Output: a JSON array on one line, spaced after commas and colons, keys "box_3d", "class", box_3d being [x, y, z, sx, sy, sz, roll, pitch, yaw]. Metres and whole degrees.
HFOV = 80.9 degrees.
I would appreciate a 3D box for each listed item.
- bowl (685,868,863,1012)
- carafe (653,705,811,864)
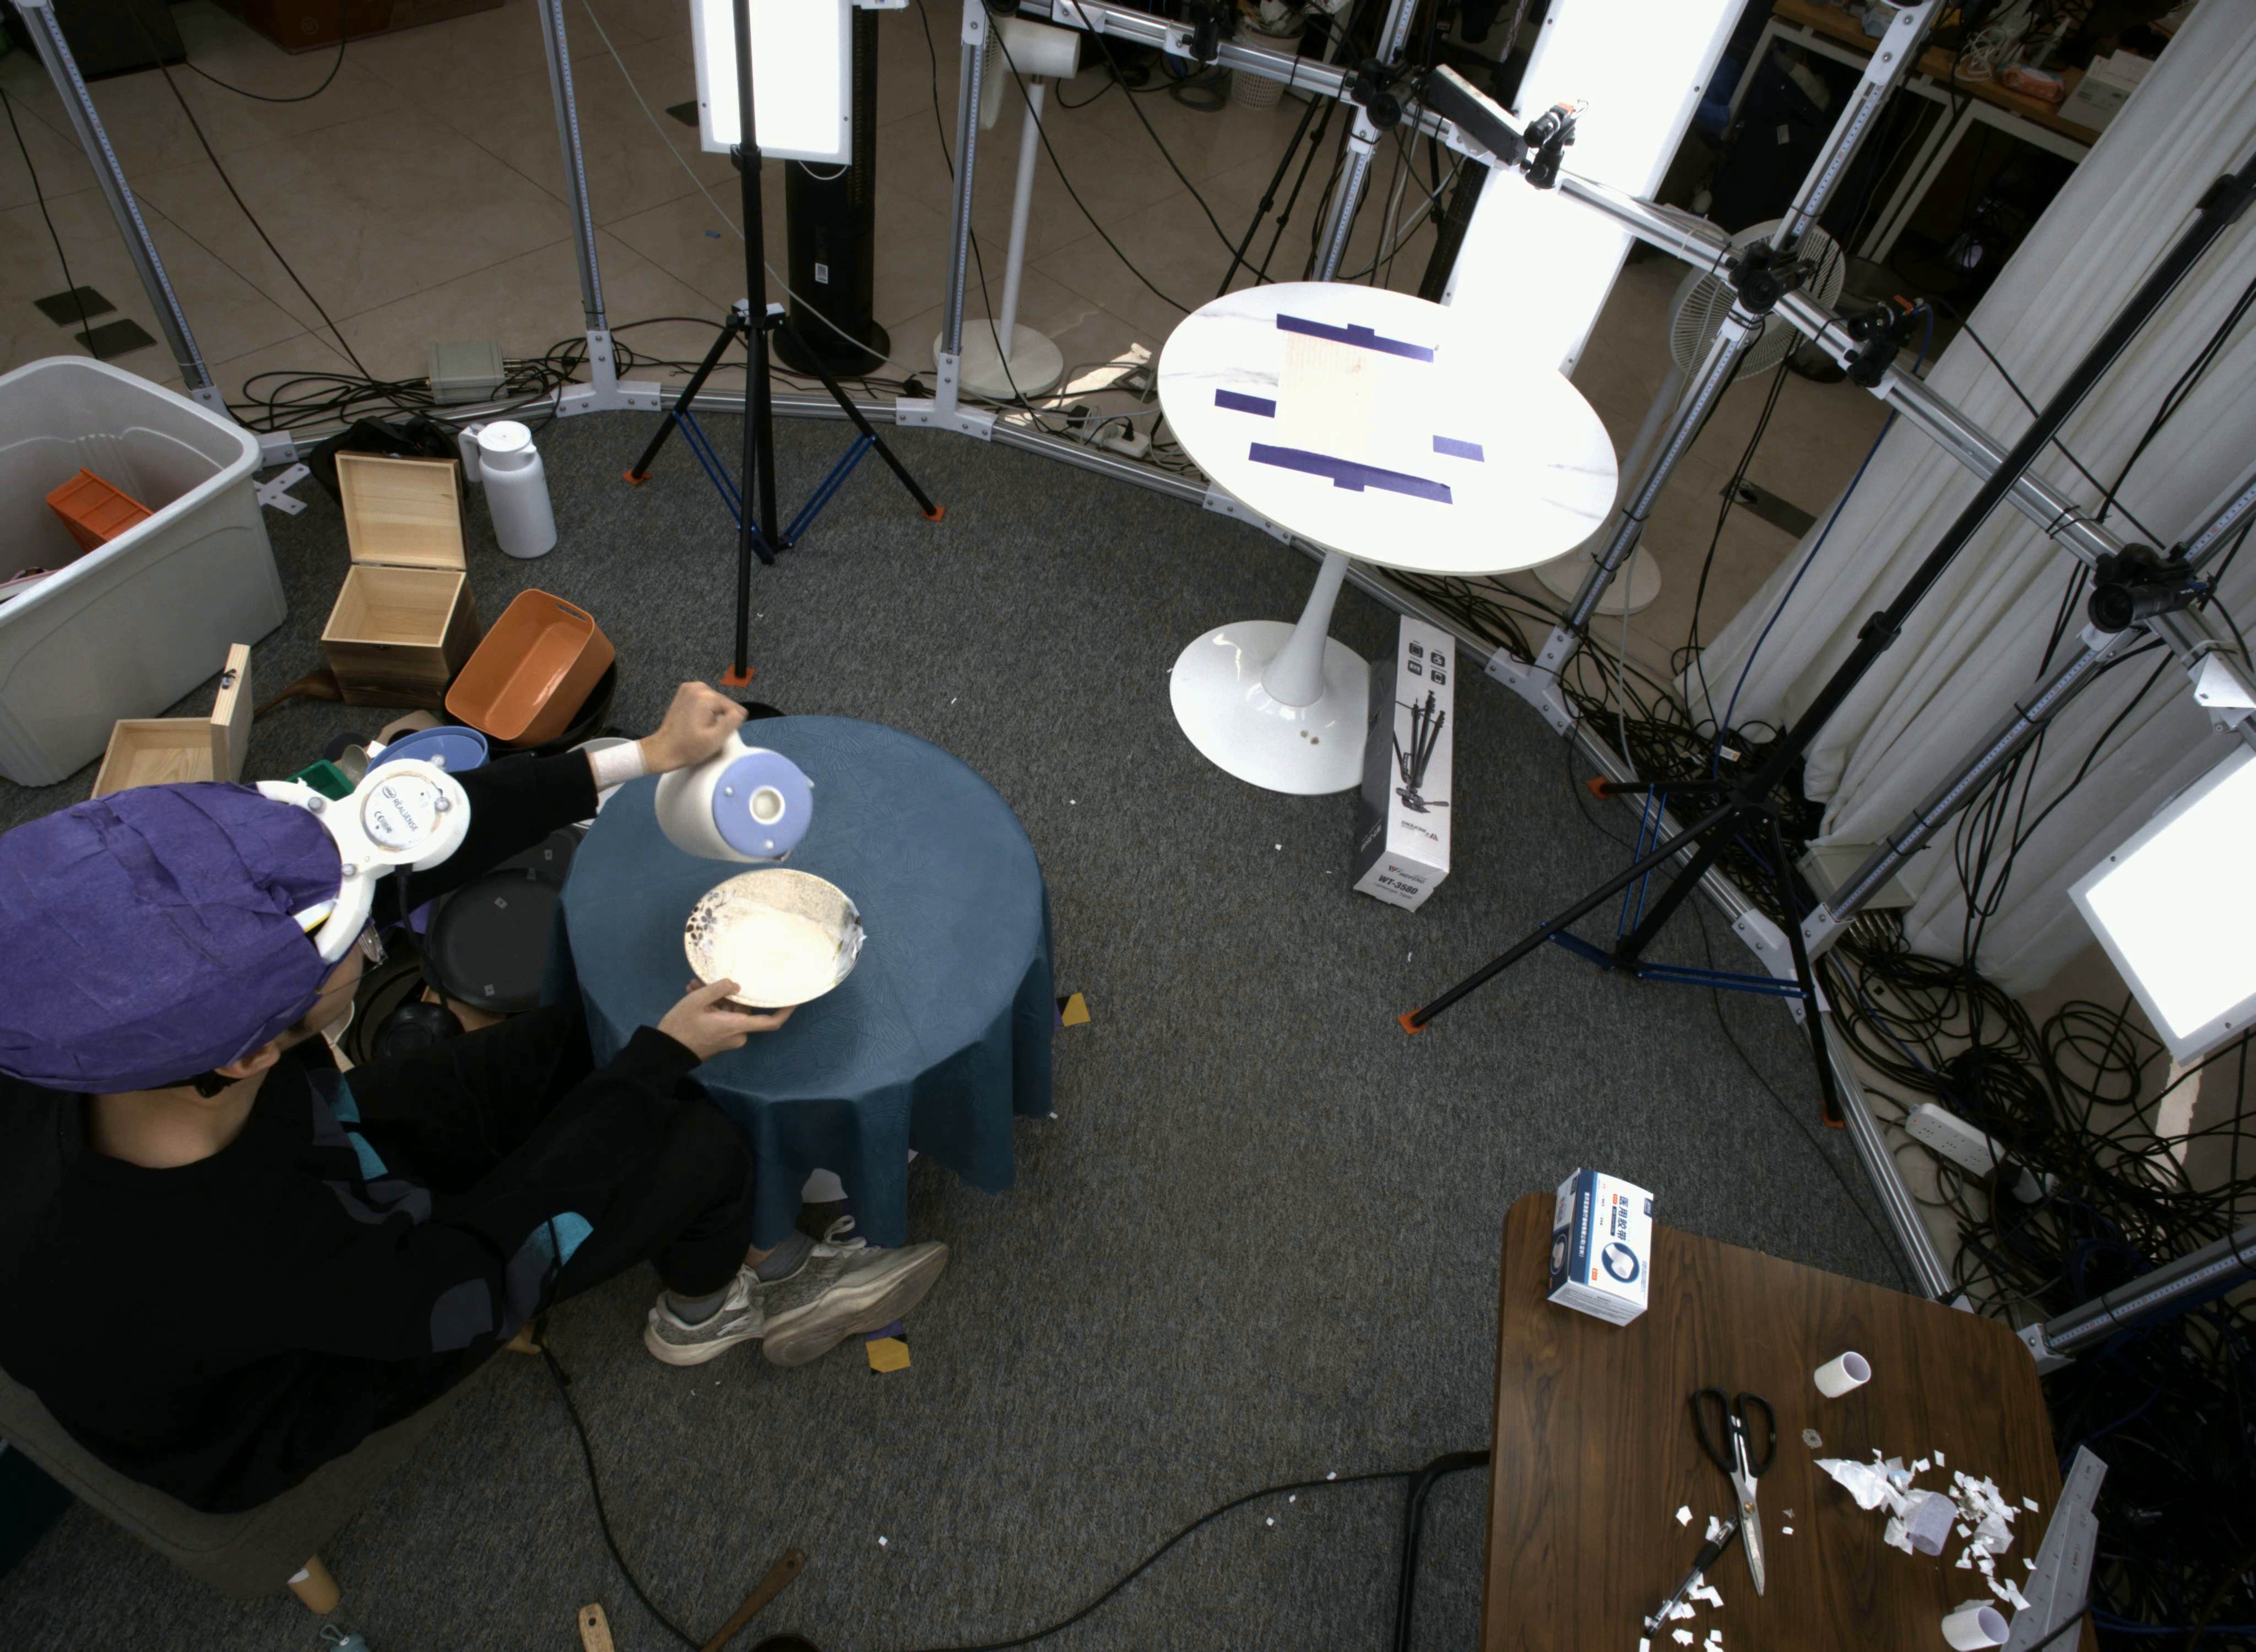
[{"box_3d": [-0.414, 0.150, 1.534, 0.203, 0.080, 0.200, 6, 50, -5], "class": "bowl"}, {"box_3d": [-0.463, -0.050, 1.473, 0.133, 0.176, 0.196, -32, 112, -36], "class": "carafe"}]
